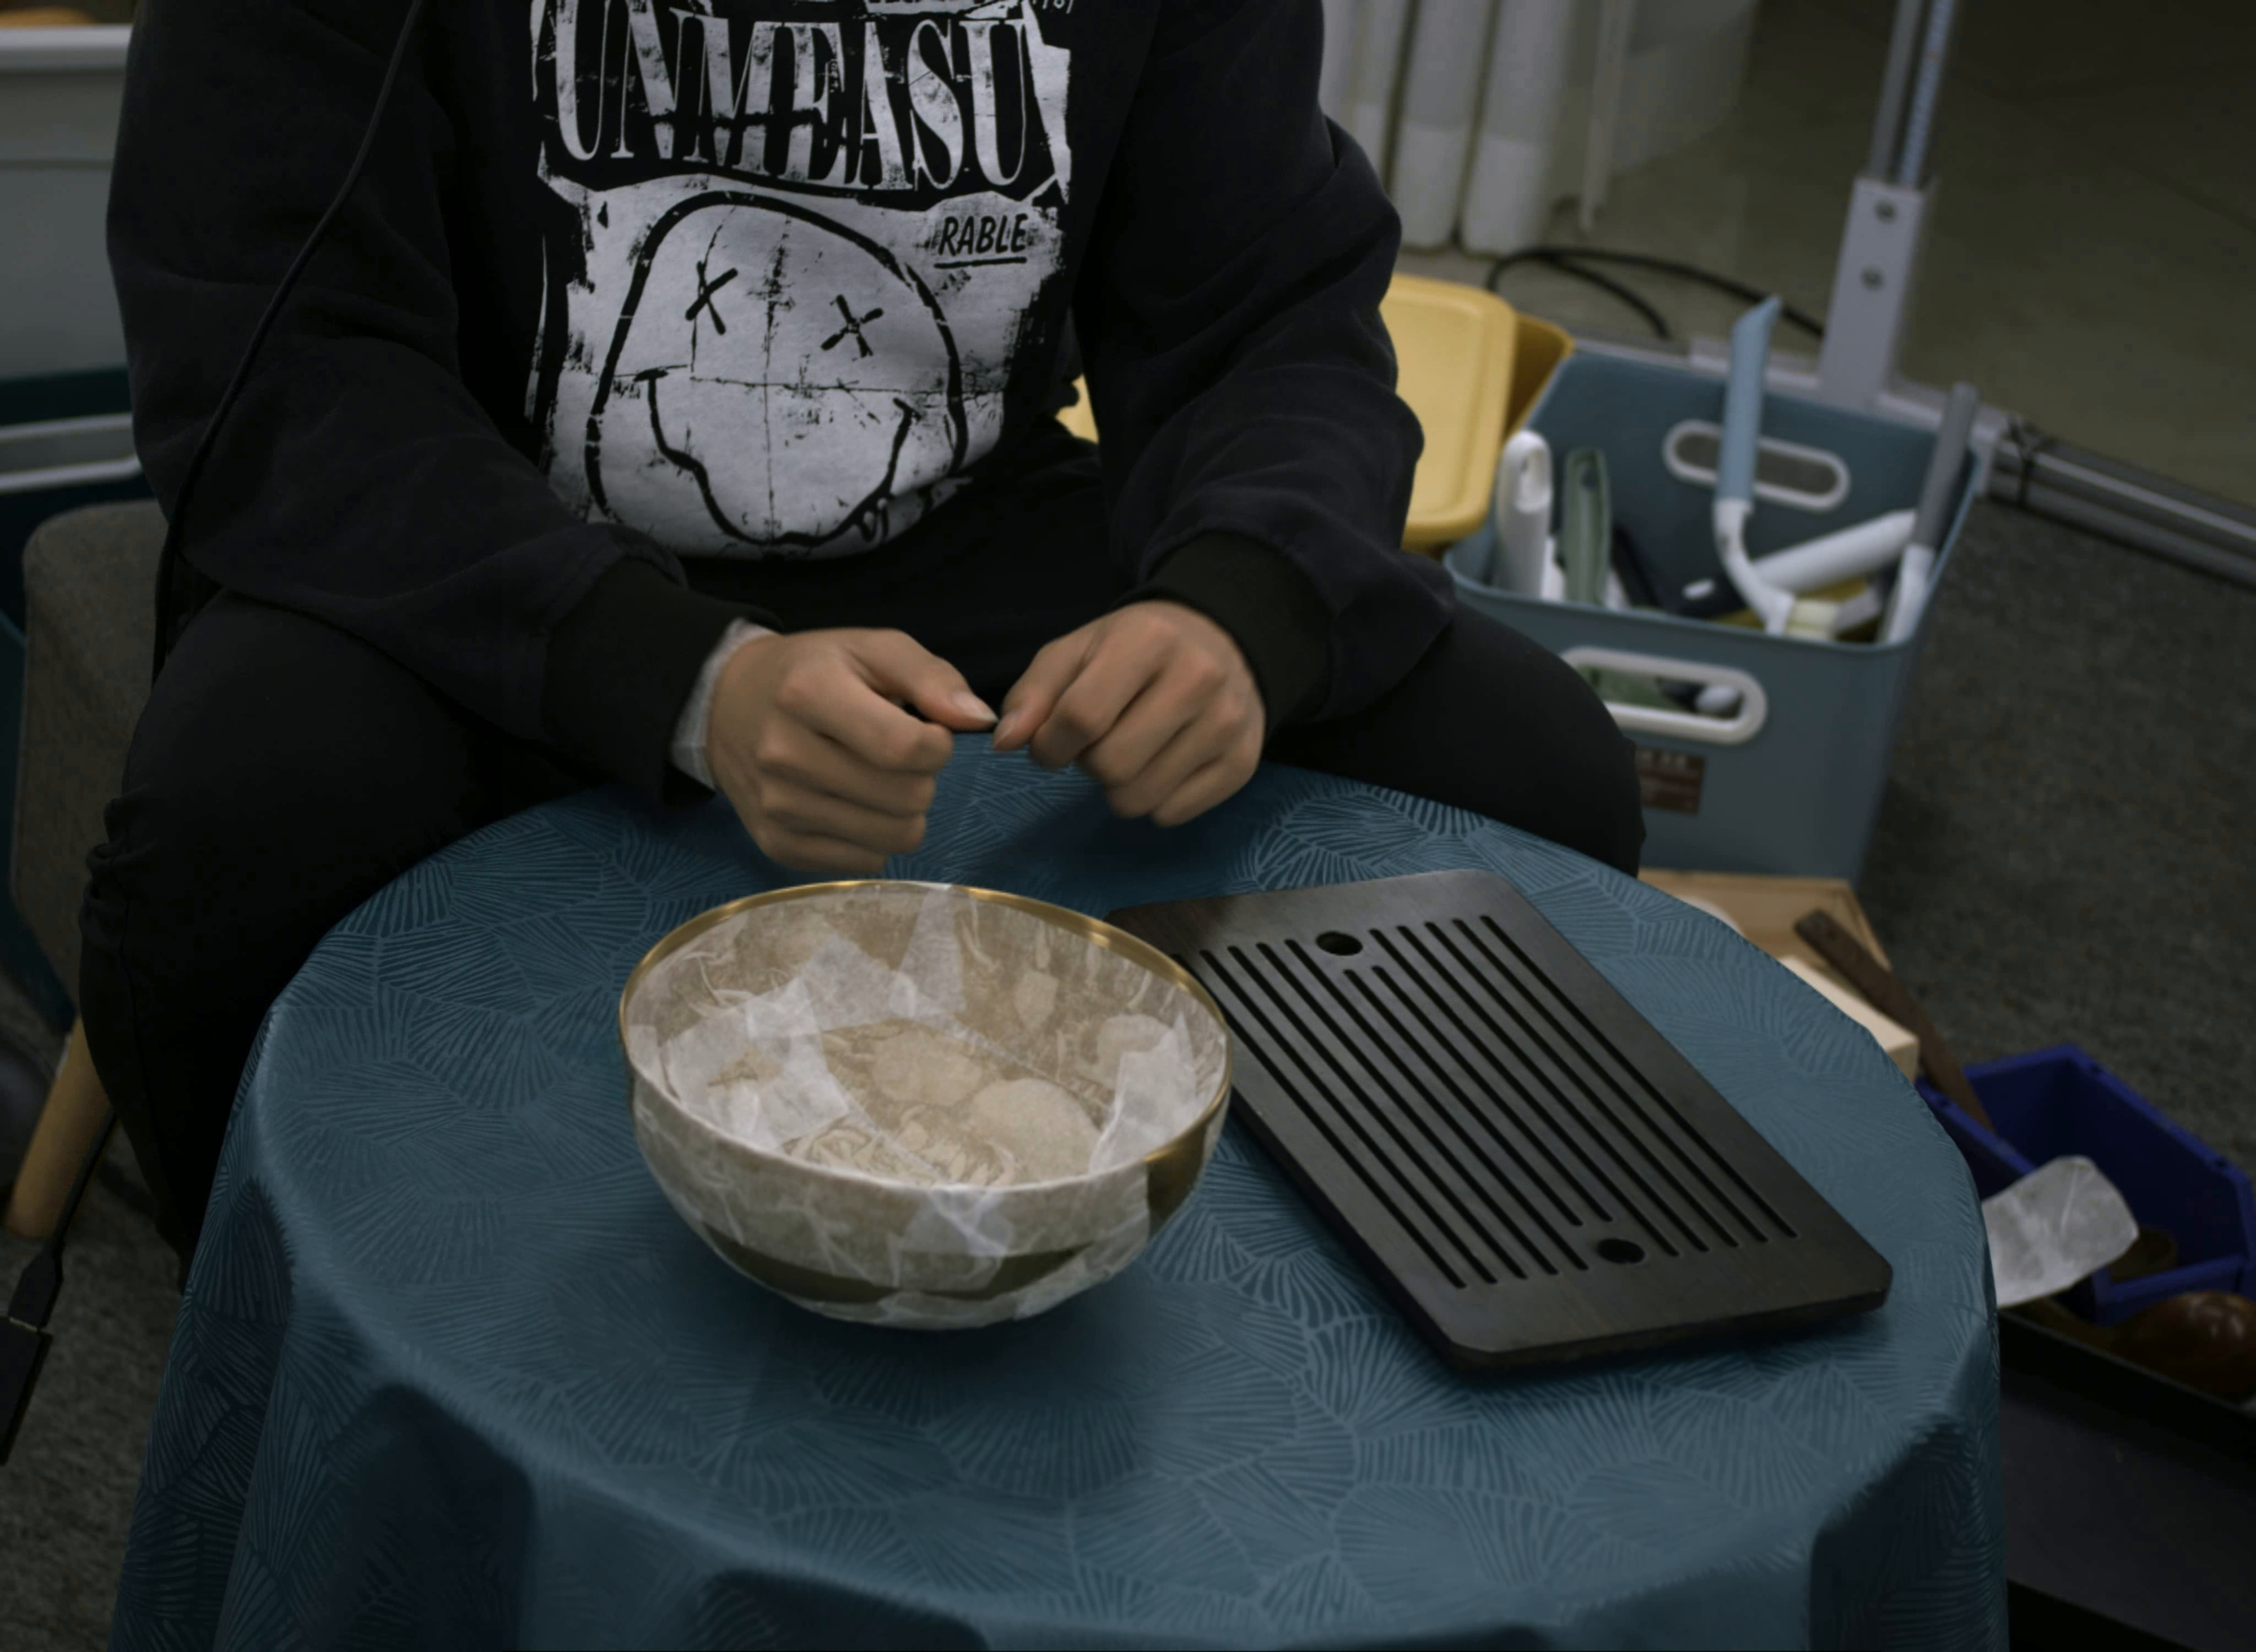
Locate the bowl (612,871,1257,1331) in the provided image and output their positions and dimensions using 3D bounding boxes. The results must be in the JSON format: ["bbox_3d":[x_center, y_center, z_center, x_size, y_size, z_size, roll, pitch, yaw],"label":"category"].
[{"bbox_3d":[-0.066,0.101,1.727,0.214,0.094,0.216,4,27,-2],"label":"bowl"}]

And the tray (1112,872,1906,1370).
[{"bbox_3d":[0.125,0.100,1.857,0.169,0.018,0.309,-6,29,-24],"label":"tray"}]
